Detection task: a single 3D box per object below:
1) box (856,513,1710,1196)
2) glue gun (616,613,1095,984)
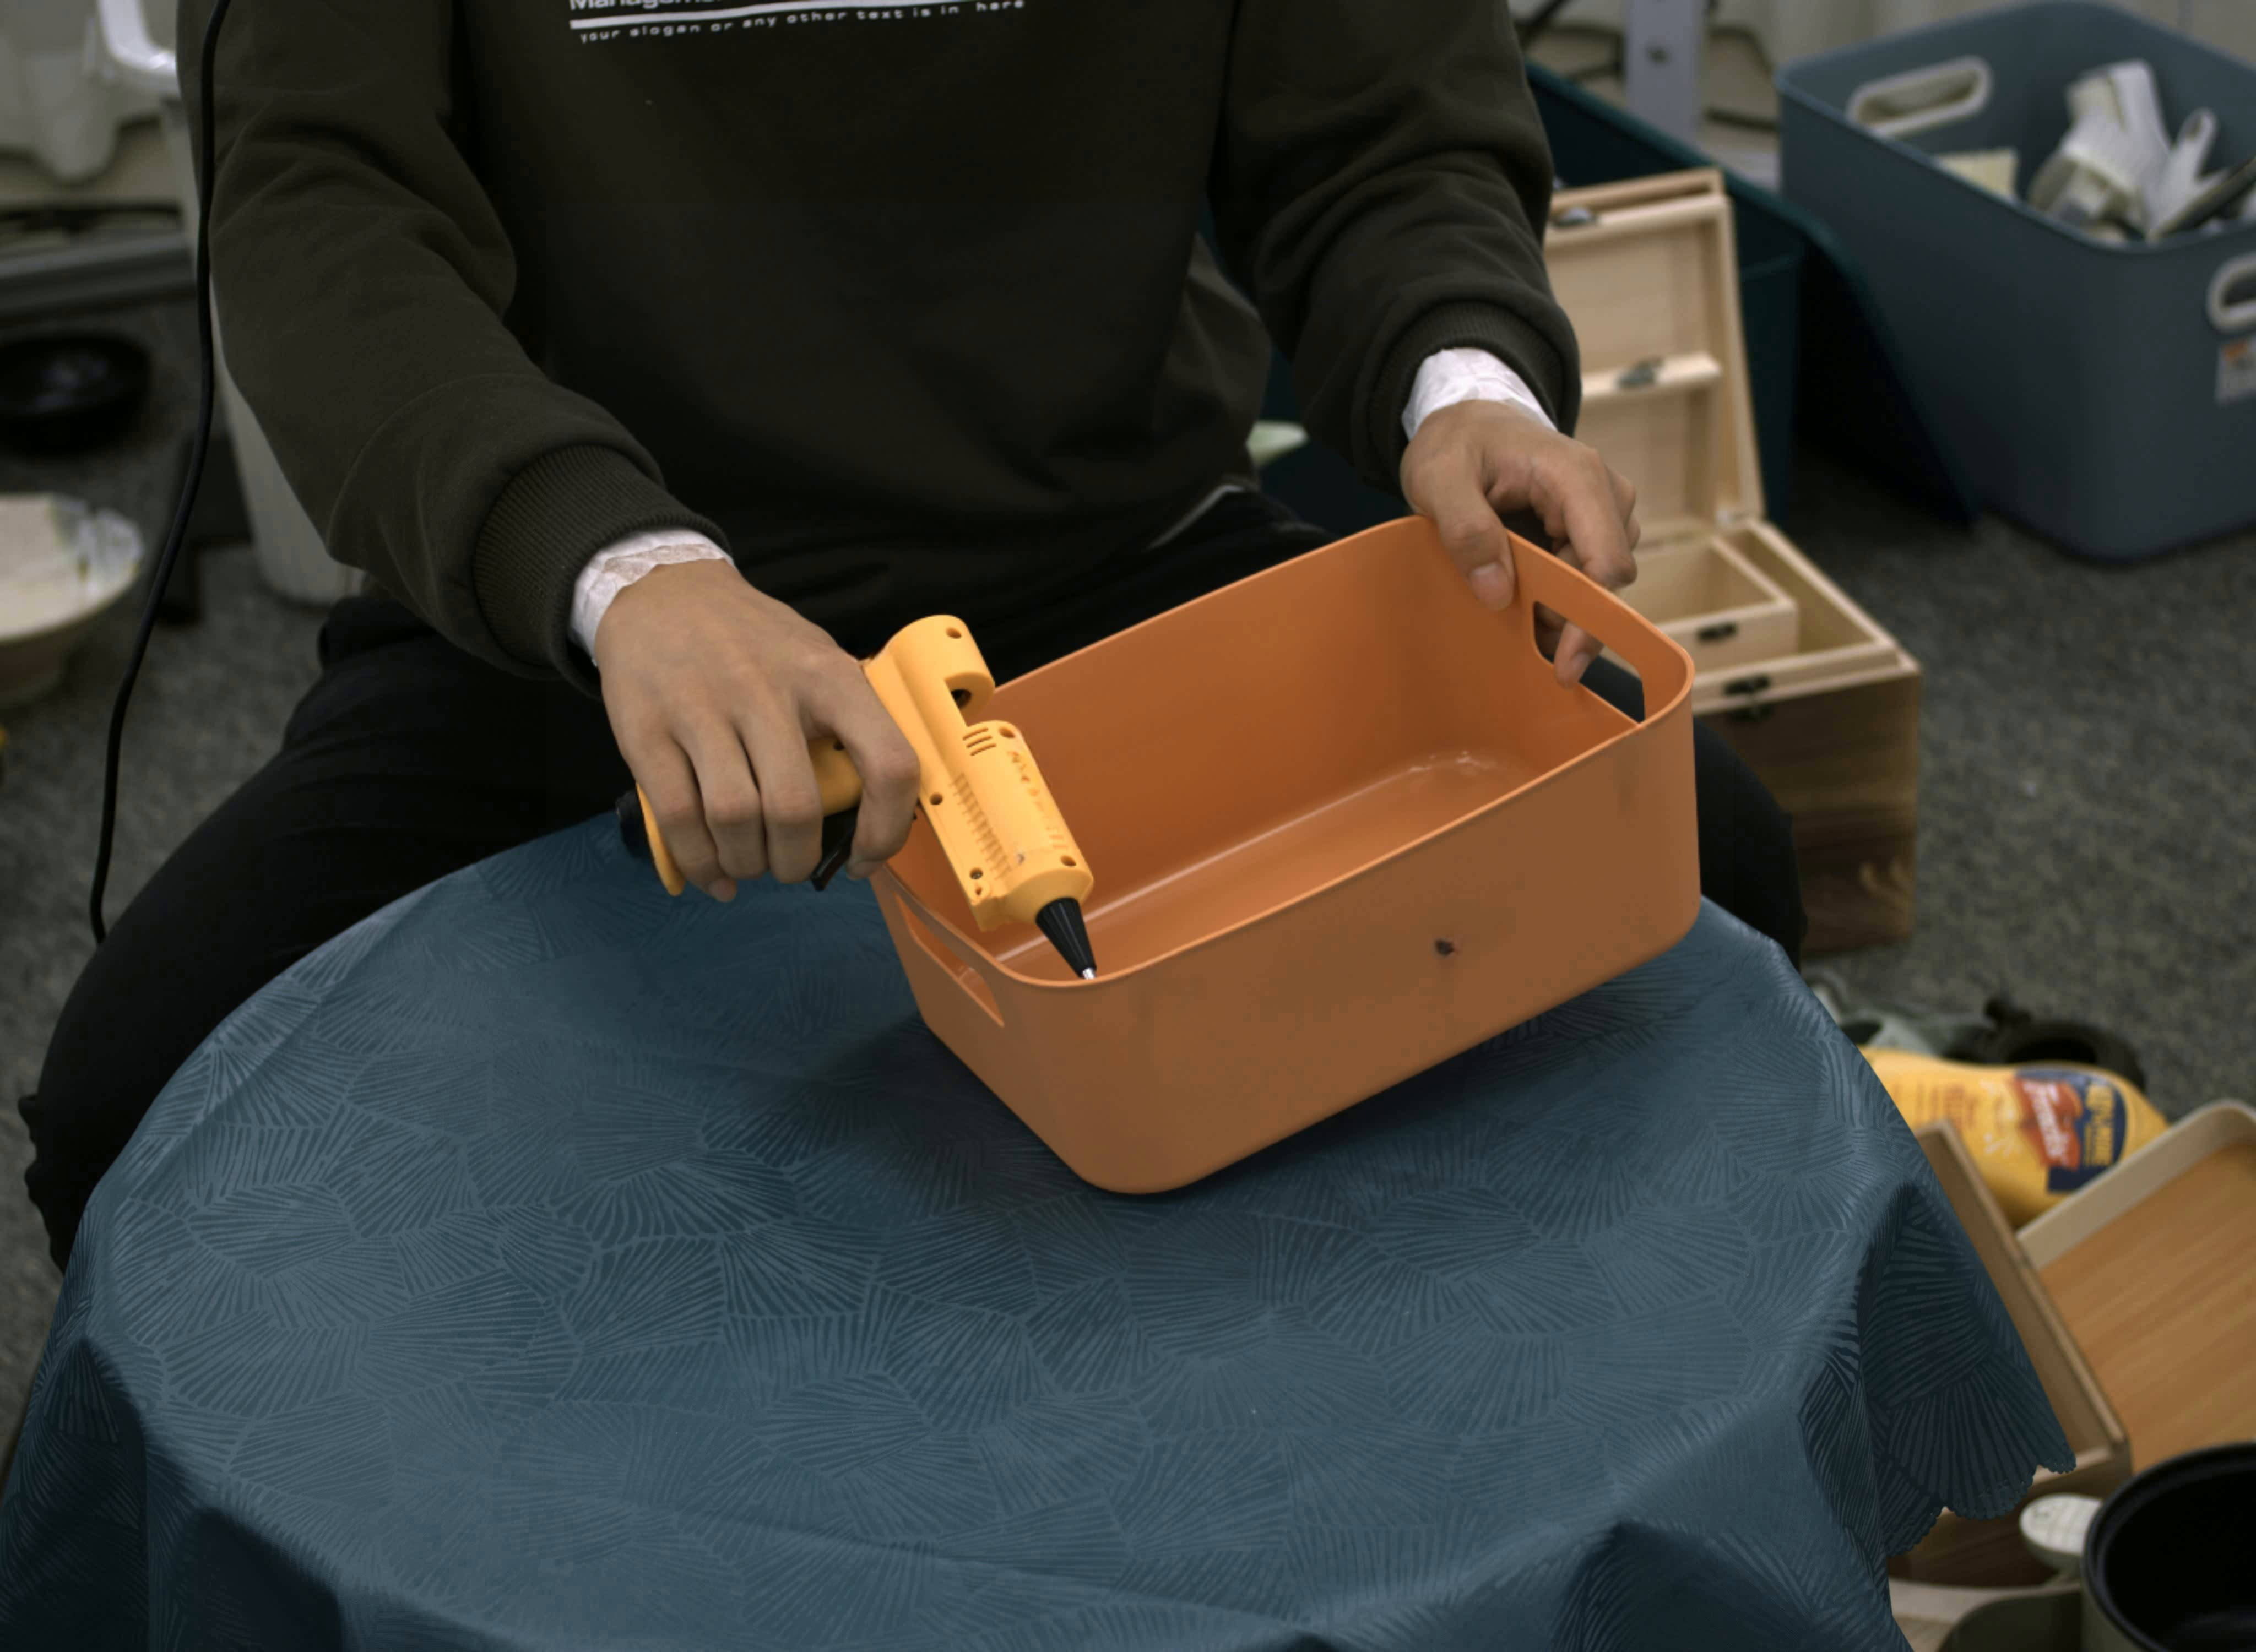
[{"bbox_3d":[0.056,0.010,1.935,0.275,0.101,0.200,-25,32,-19],"label":"box"},{"bbox_3d":[-0.080,0.014,1.838,0.133,0.030,0.153,-28,58,-8],"label":"glue gun"}]
